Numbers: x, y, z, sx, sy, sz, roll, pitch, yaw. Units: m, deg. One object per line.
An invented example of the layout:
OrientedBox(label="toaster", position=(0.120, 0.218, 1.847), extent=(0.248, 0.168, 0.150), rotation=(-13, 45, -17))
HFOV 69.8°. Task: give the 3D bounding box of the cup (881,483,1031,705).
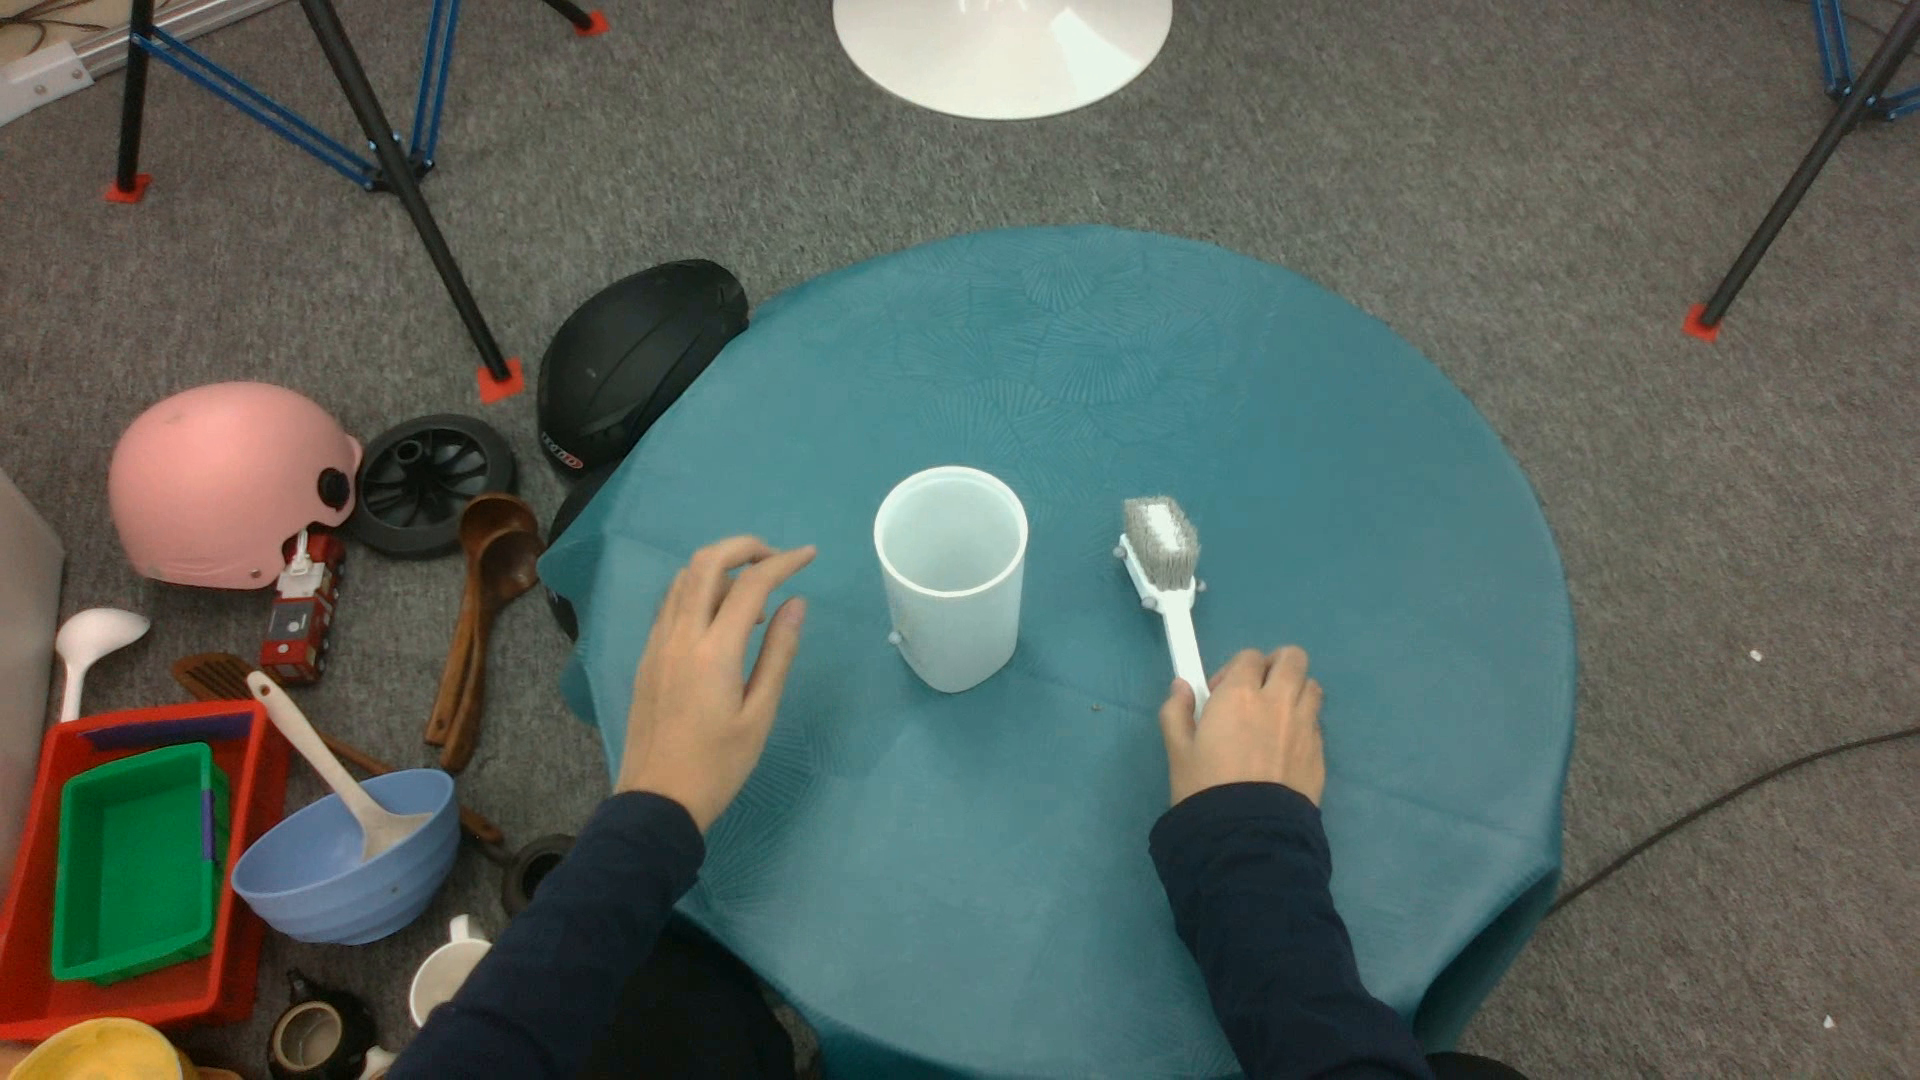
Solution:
OrientedBox(label="cup", position=(0.000, 0.035, 0.788), extent=(0.081, 0.125, 0.082), rotation=(-1, 58, 2))

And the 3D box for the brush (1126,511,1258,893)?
OrientedBox(label="brush", position=(0.134, 0.080, 0.785), extent=(0.034, 0.050, 0.244), rotation=(-2, 50, -8))
